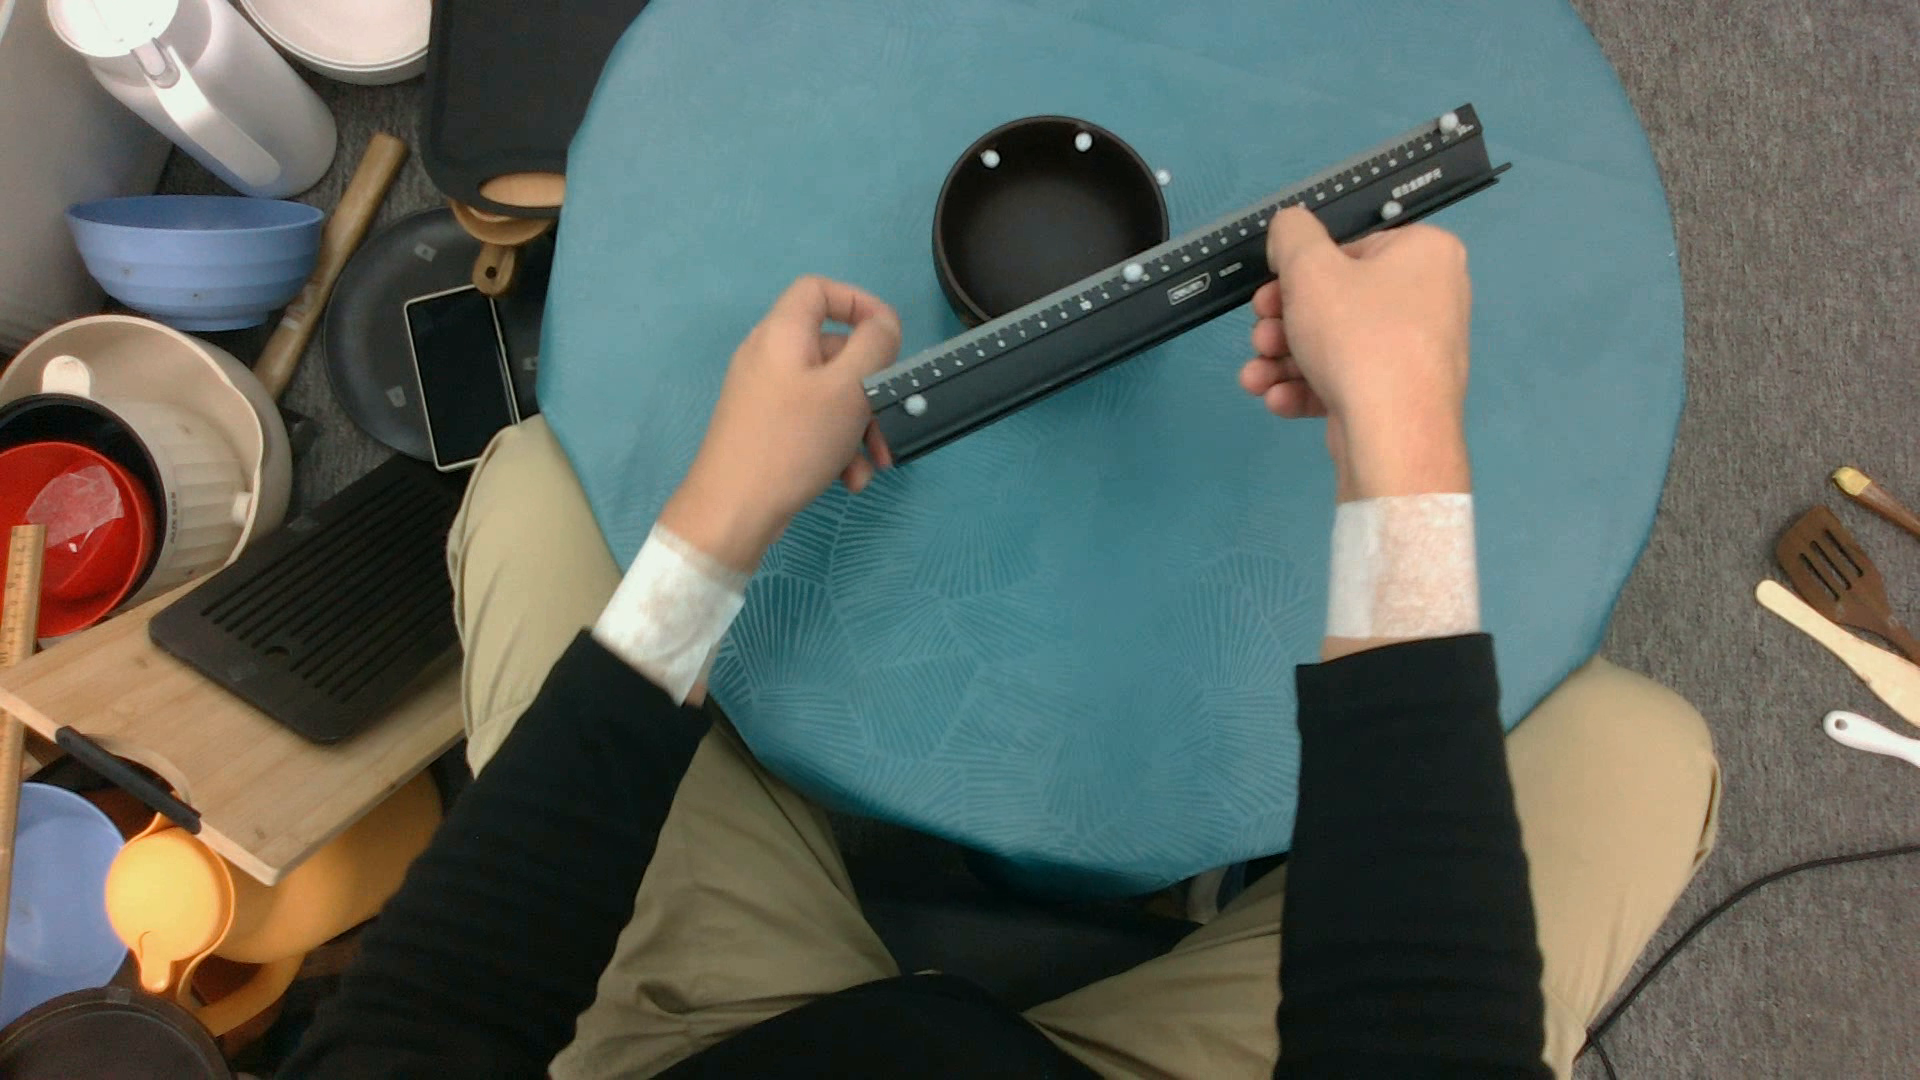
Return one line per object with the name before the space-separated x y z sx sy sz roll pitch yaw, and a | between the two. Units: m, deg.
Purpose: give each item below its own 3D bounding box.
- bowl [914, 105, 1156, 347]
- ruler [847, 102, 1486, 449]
bowl | 0.036 -0.149 0.691 0.118 0.070 0.118 0 81 -2
ruler | 0.098 -0.118 0.582 0.313 0.017 0.039 -26 102 -16
